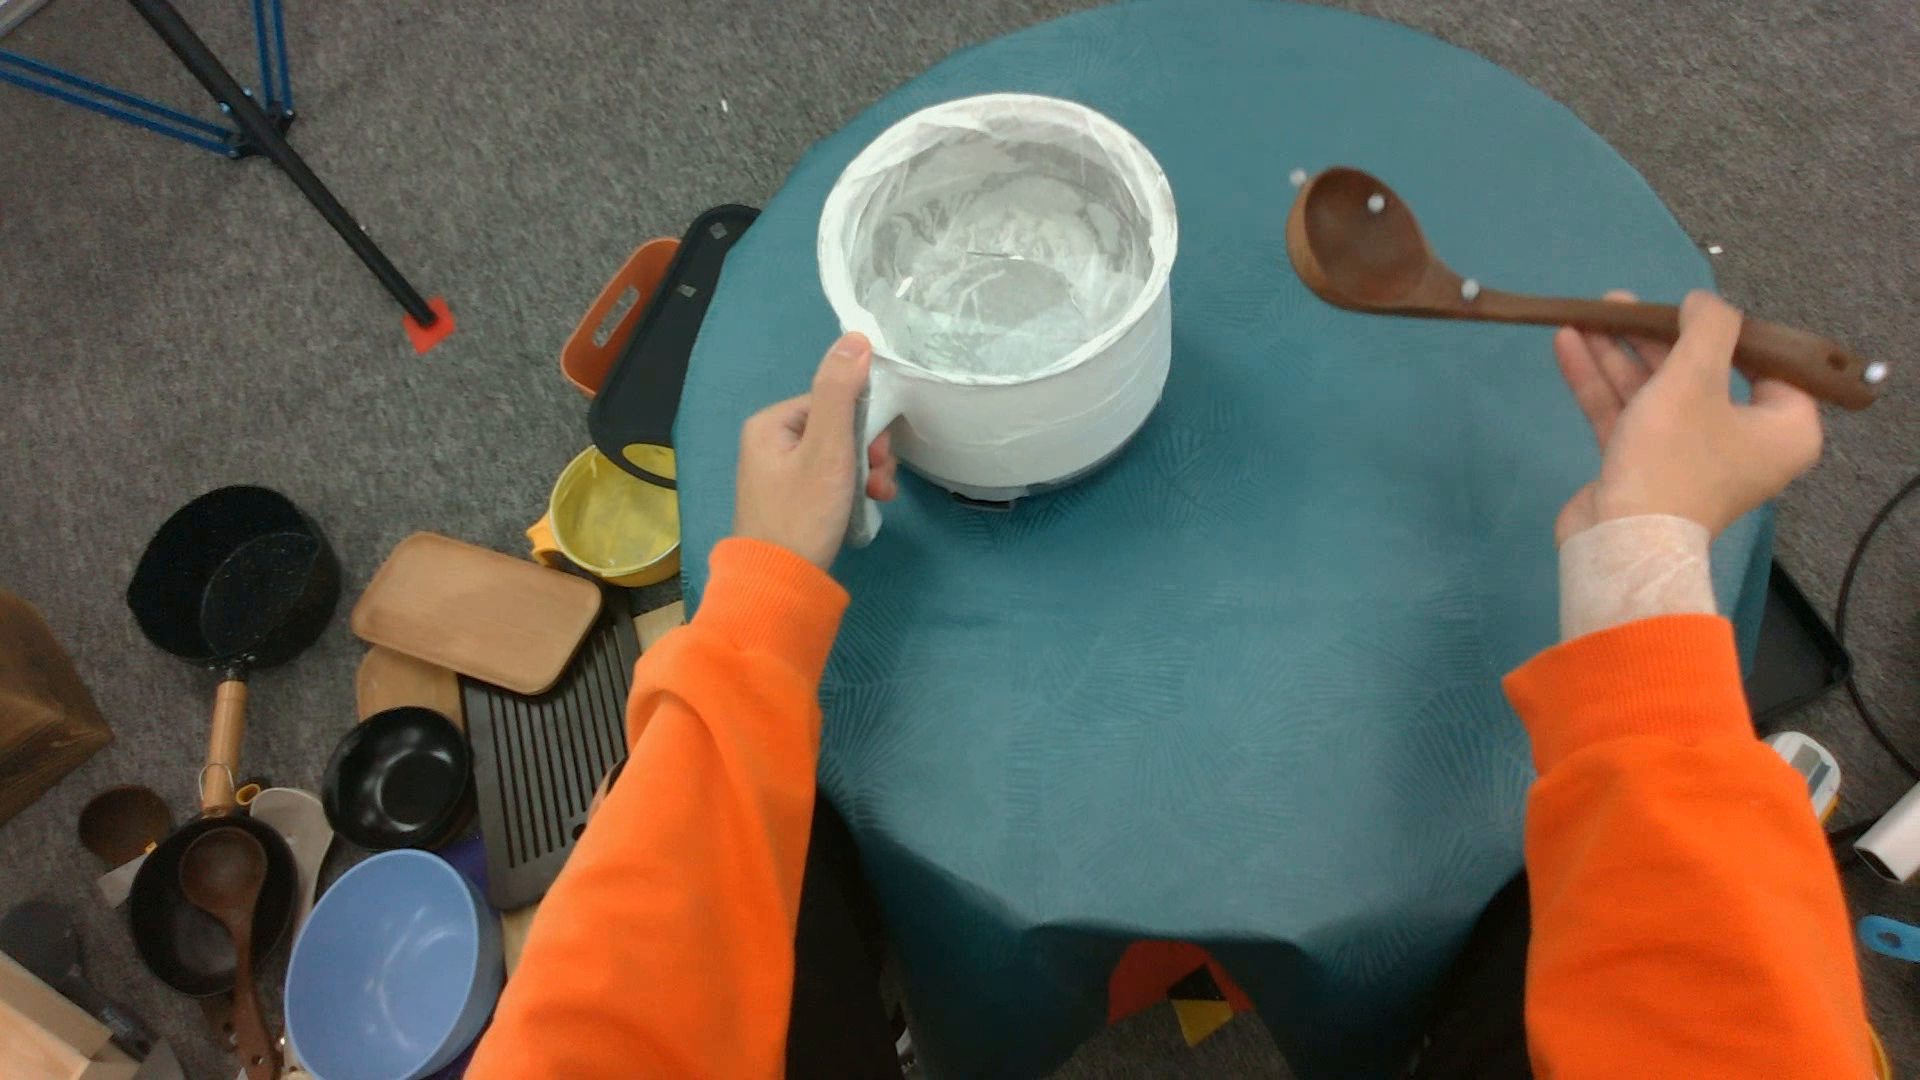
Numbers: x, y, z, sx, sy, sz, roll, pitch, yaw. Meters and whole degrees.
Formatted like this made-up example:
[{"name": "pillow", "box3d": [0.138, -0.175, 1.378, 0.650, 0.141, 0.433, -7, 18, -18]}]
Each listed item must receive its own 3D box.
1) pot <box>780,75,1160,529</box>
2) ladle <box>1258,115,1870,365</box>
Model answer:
[{"name": "pot", "box3d": [-0.005, -0.110, 0.711, 0.179, 0.136, 0.234, 36, 72, 21]}, {"name": "ladle", "box3d": [0.257, -0.130, 0.601, 0.260, 0.065, 0.077, 19, 68, 24]}]
